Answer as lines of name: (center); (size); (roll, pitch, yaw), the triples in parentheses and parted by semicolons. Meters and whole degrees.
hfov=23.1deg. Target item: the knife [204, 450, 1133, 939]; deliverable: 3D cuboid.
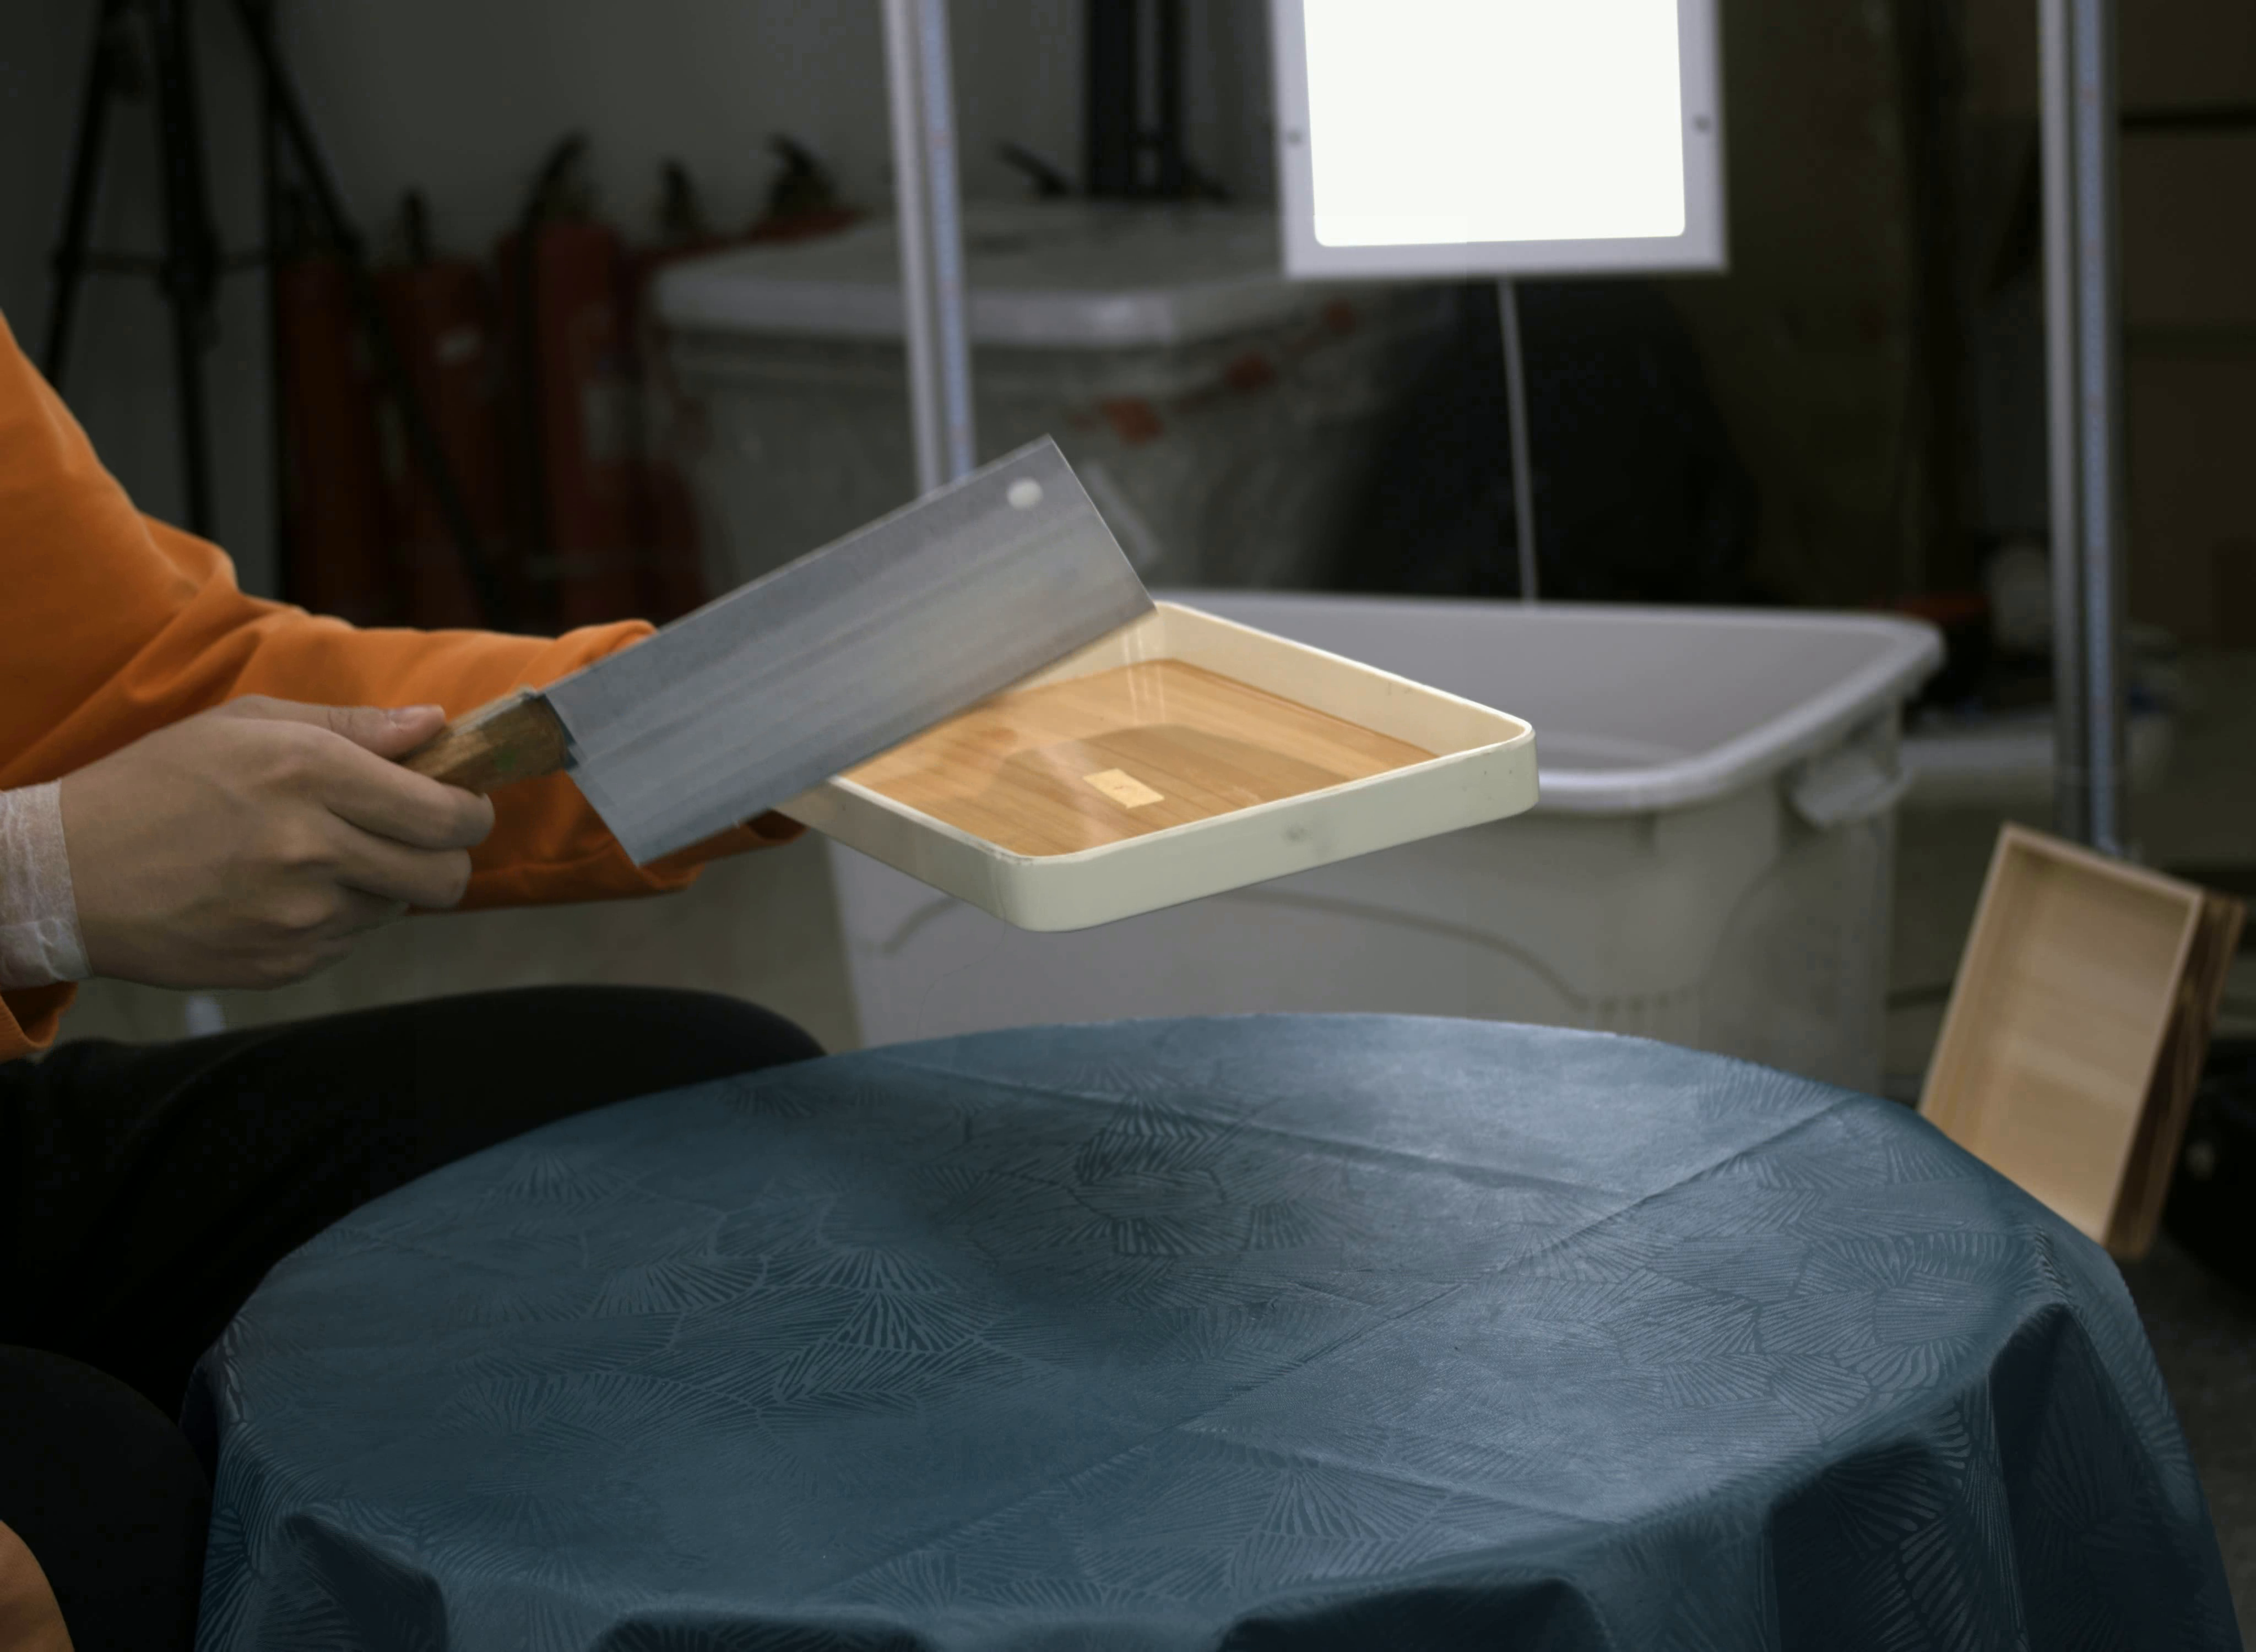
knife: (-0.142, -0.027, 1.744); (0.307, 0.092, 0.021); (-26, 46, 10)

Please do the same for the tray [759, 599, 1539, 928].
tray: (-0.009, -0.025, 1.874); (0.188, 0.027, 0.305); (-15, 16, -21)
